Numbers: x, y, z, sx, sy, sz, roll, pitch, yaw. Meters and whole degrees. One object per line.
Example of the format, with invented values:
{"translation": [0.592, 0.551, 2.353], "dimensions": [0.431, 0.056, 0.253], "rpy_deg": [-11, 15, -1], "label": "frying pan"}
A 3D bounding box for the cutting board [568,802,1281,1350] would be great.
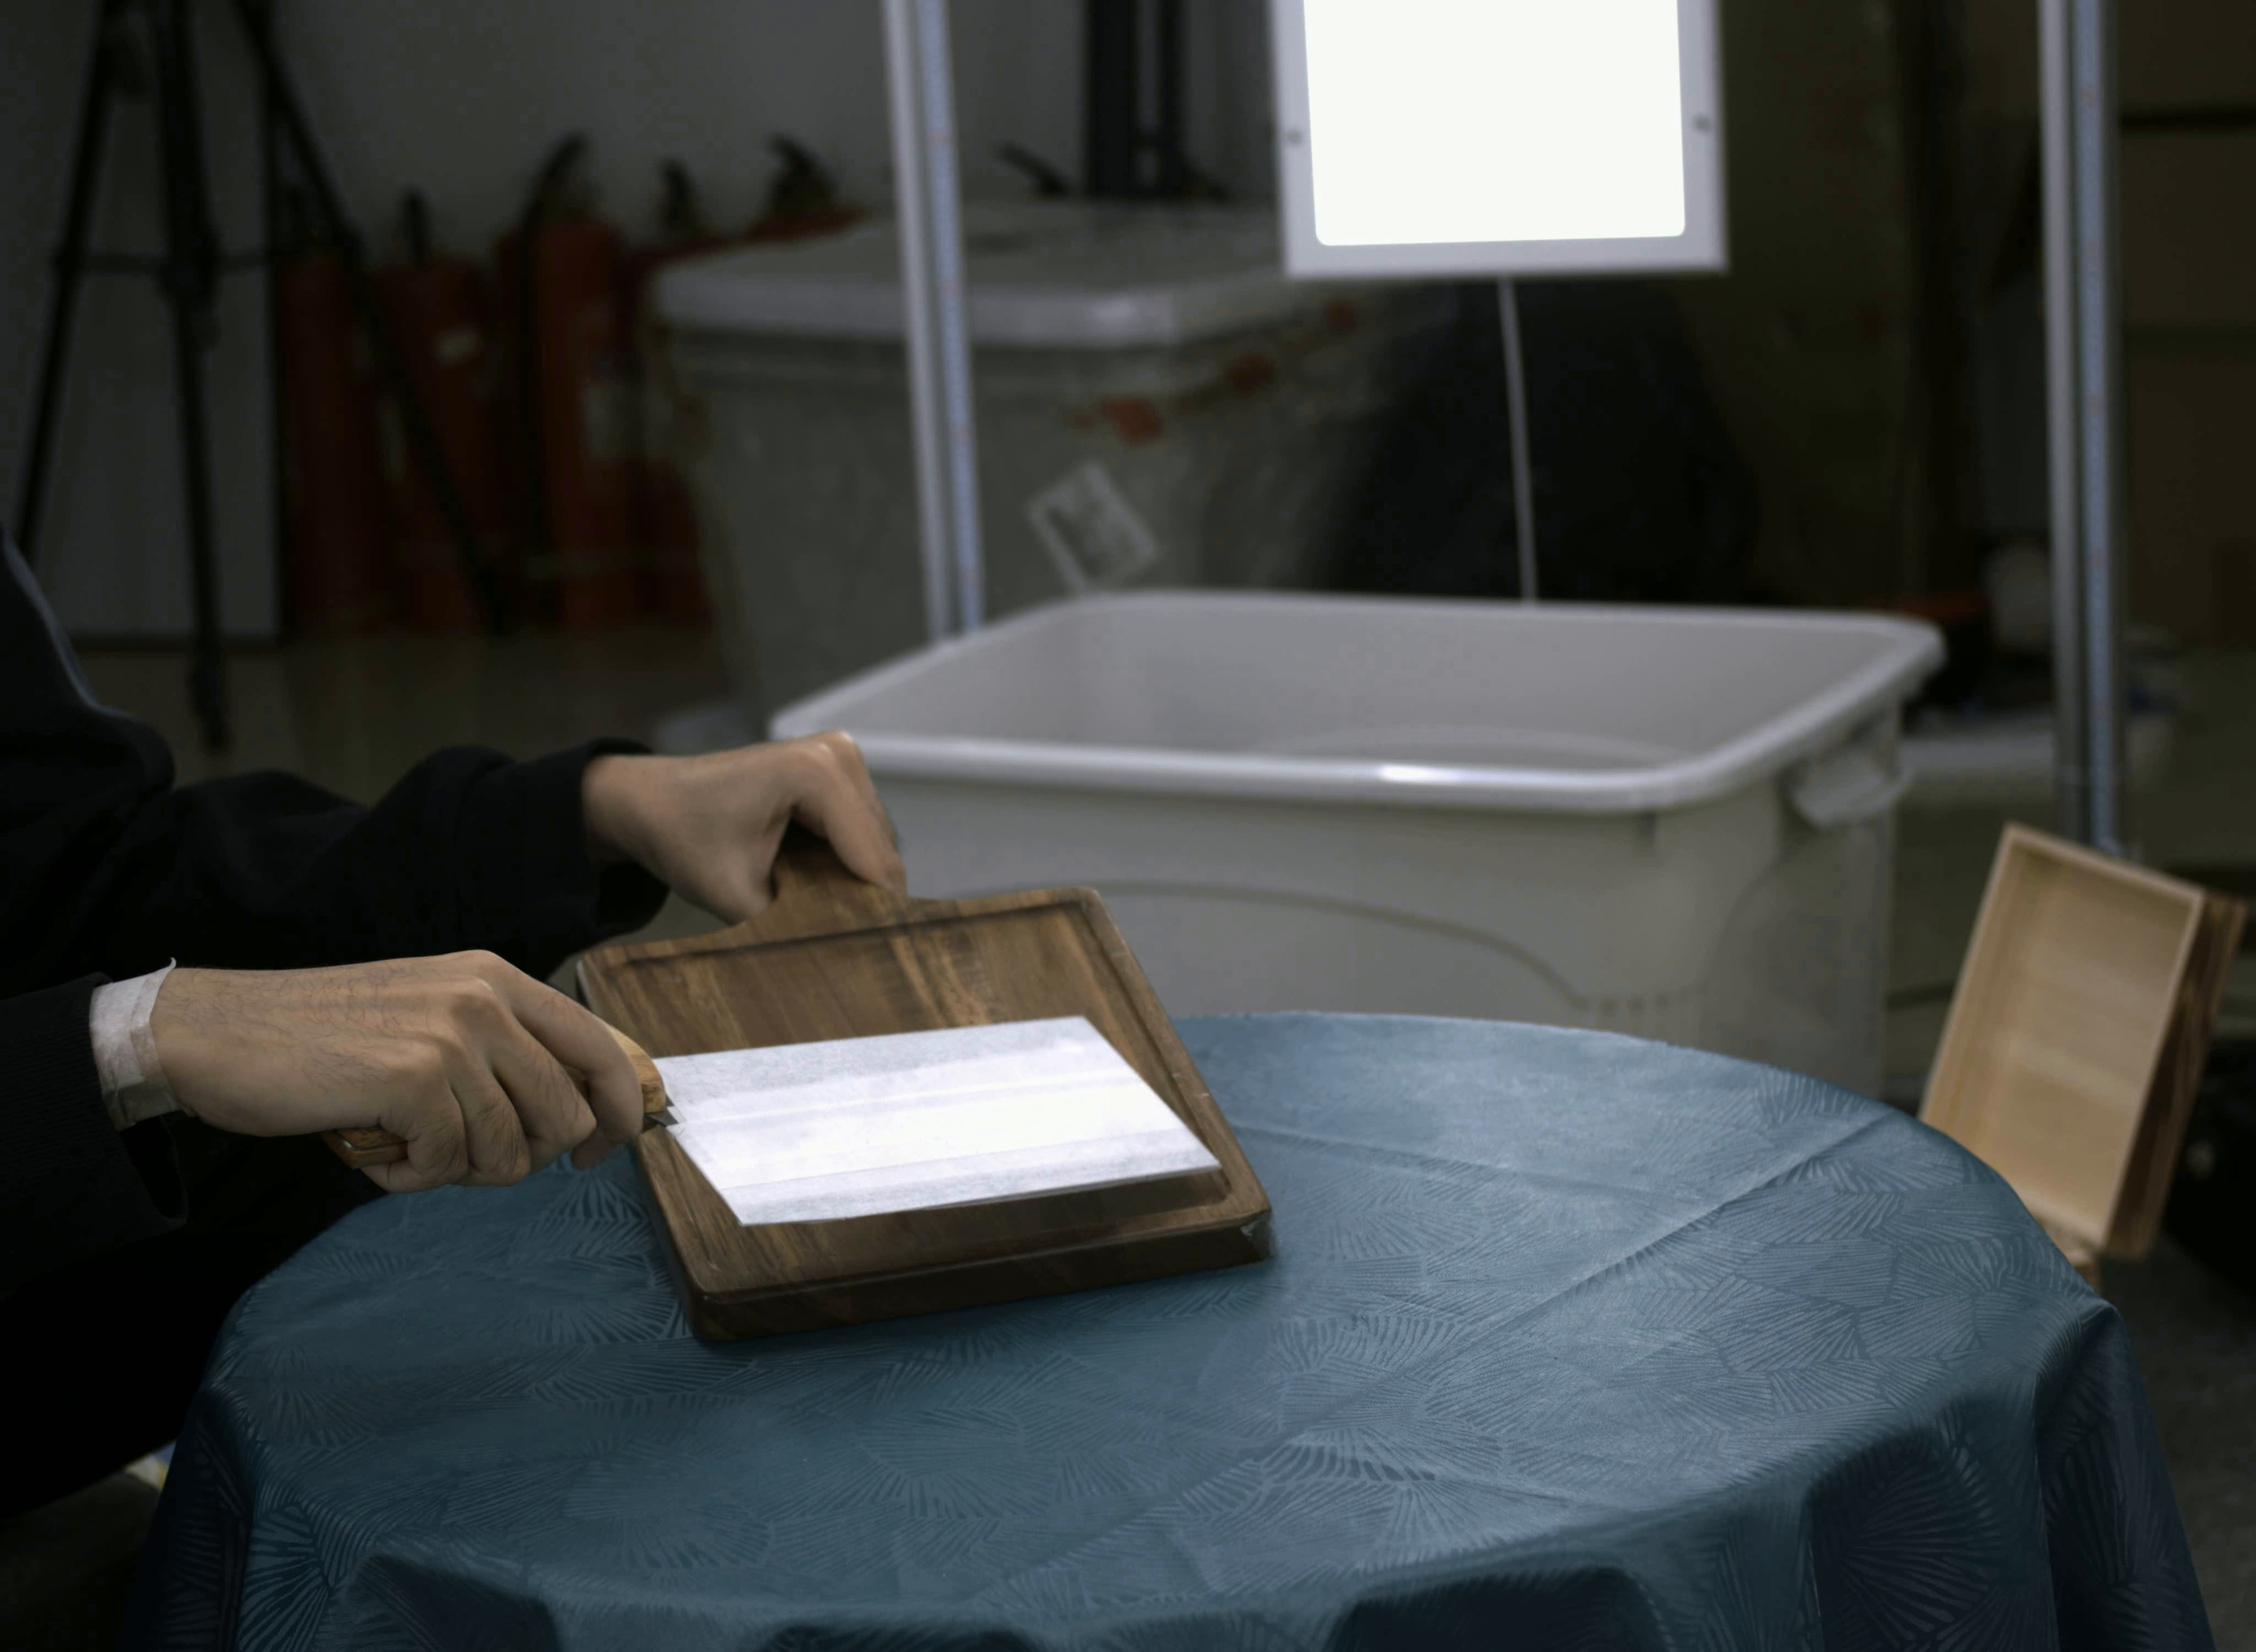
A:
{"translation": [-0.087, 0.074, 1.940], "dimensions": [0.199, 0.023, 0.354], "rpy_deg": [-9, 27, -11], "label": "cutting board"}

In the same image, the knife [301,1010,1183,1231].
{"translation": [-0.114, 0.097, 1.763], "dimensions": [0.298, 0.021, 0.094], "rpy_deg": [-5, 36, -35], "label": "knife"}
